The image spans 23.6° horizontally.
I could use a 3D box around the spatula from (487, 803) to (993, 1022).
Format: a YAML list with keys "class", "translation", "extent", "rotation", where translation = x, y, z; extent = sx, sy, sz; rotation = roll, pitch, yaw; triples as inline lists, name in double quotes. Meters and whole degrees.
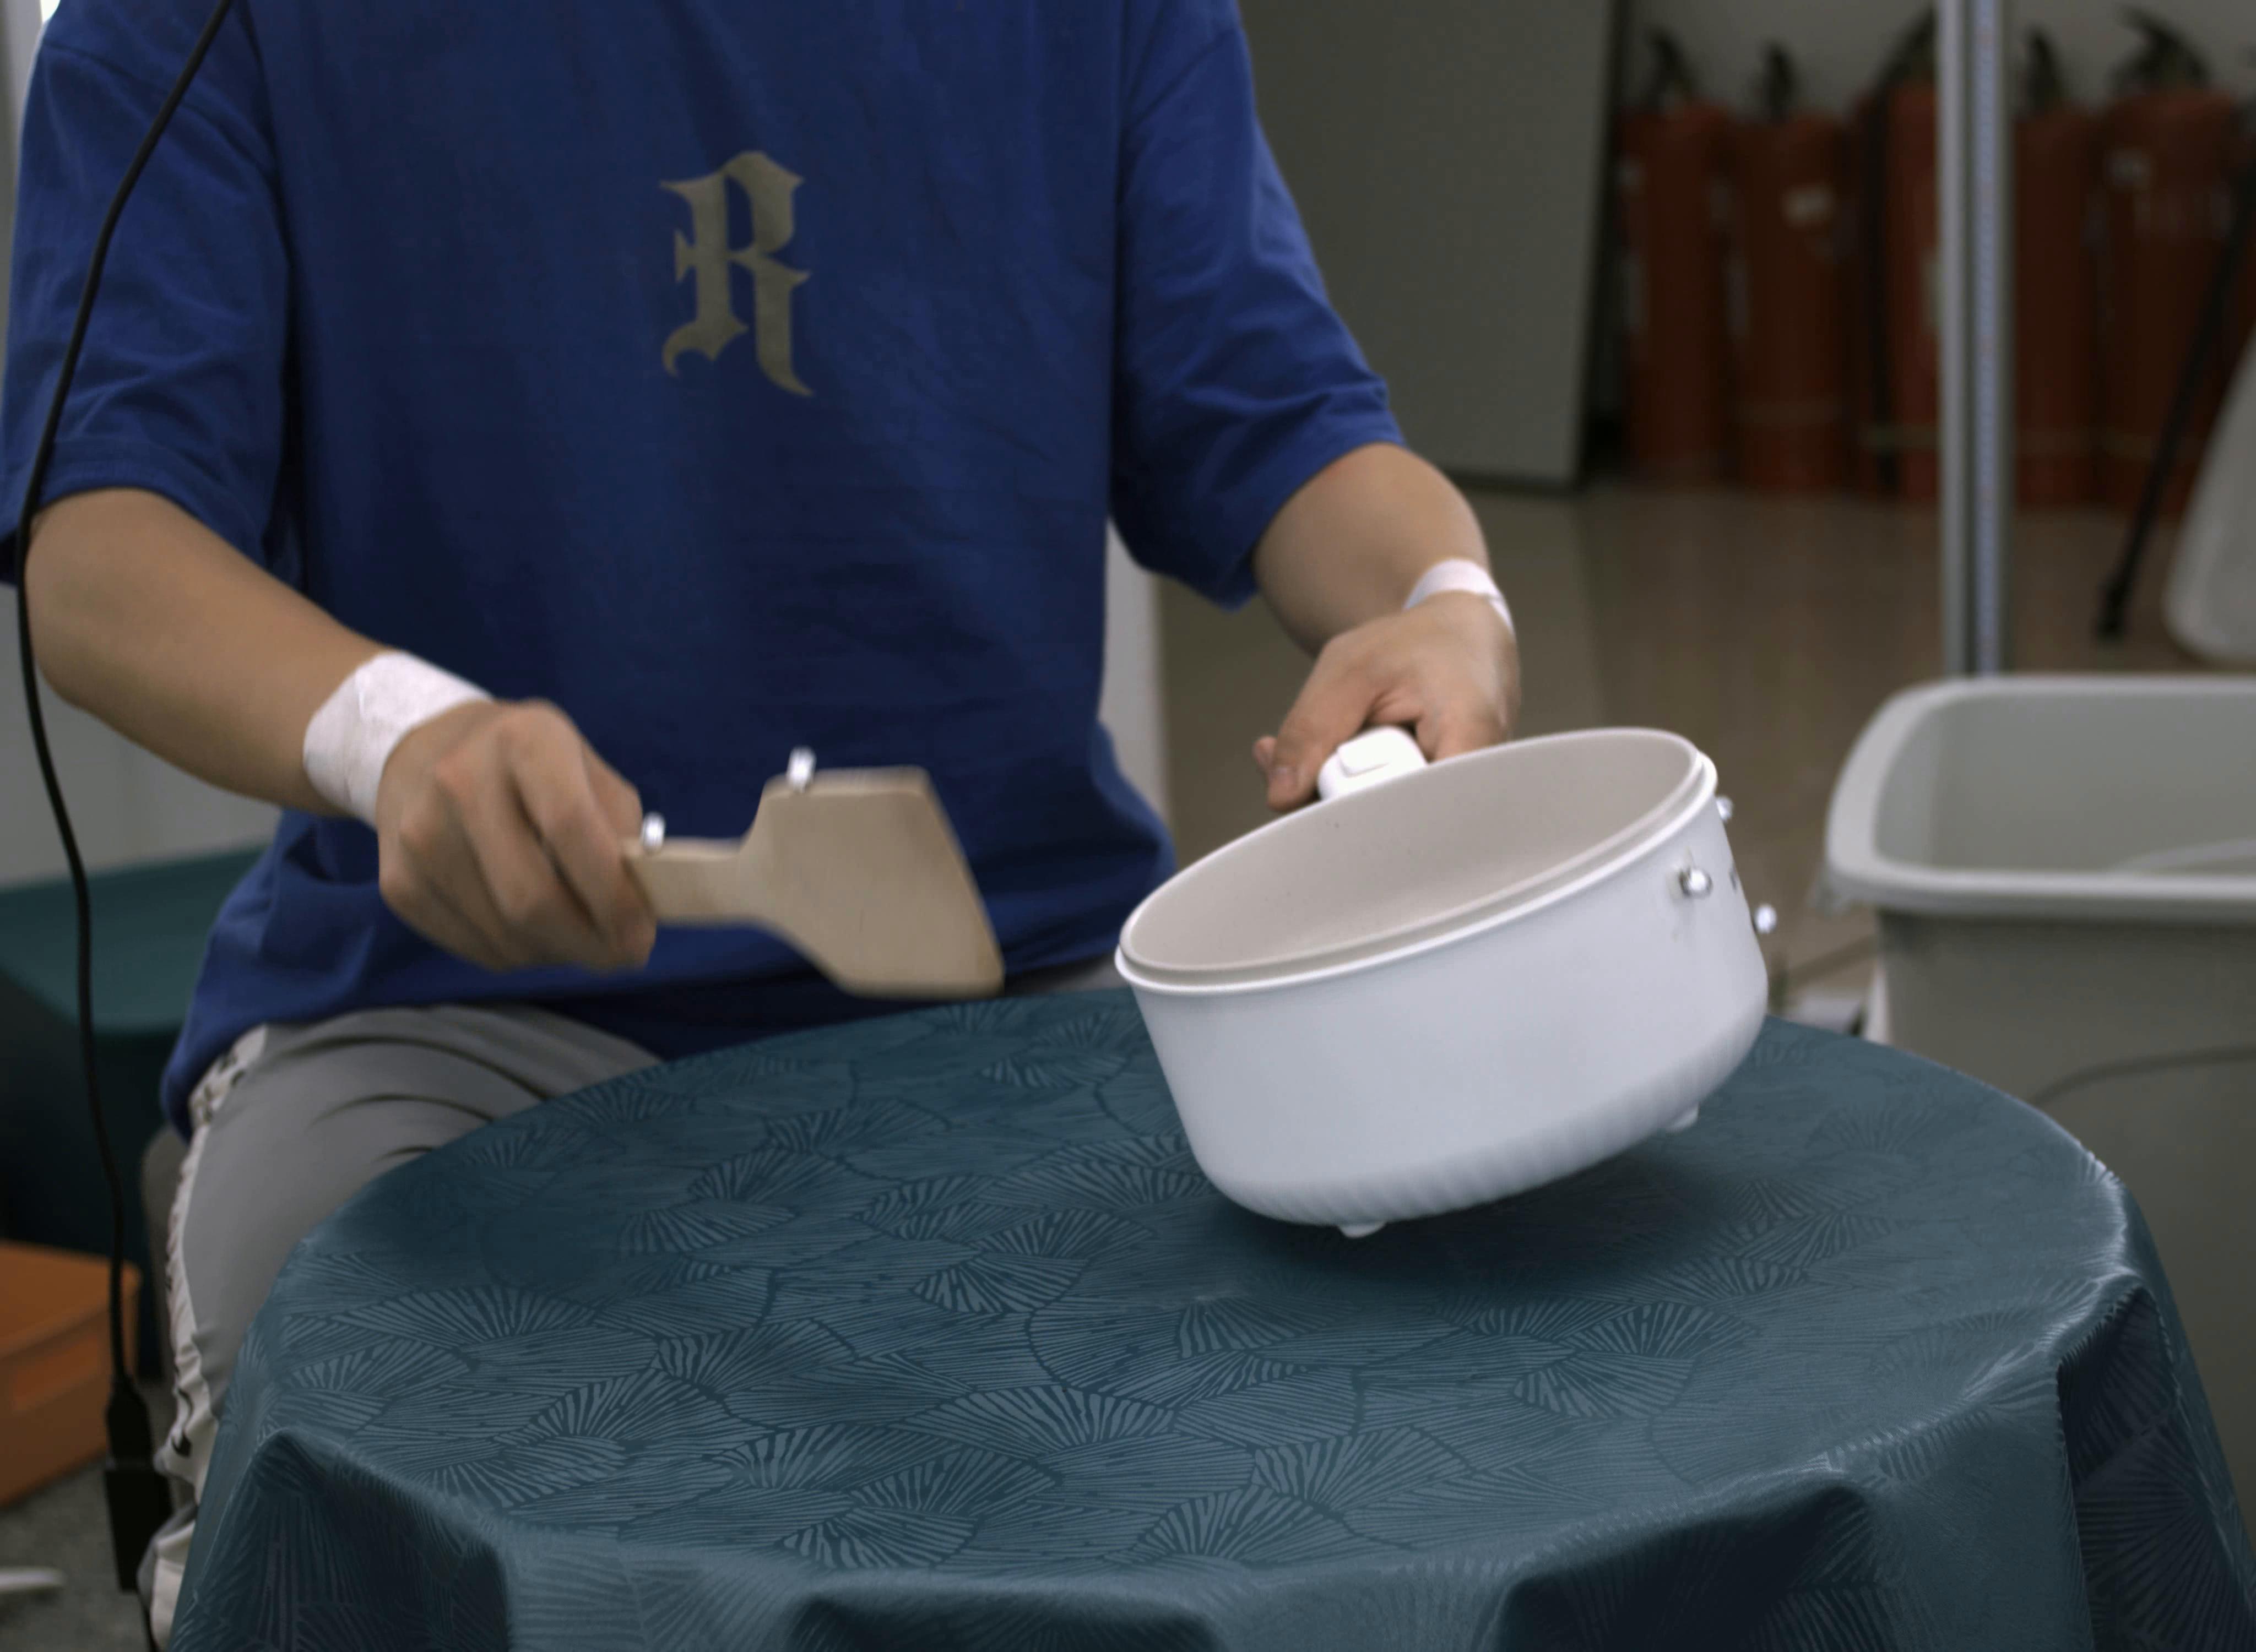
- class: "spatula"
  translation: [-0.132, 0.024, 1.693]
  extent: [0.010, 0.072, 0.296]
  rotation: [-32, 17, -28]

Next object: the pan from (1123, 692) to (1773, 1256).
- class: "pan"
  translation: [0.102, 0.039, 1.791]
  extent: [0.199, 0.103, 0.355]
  rotation: [-21, 13, 2]
